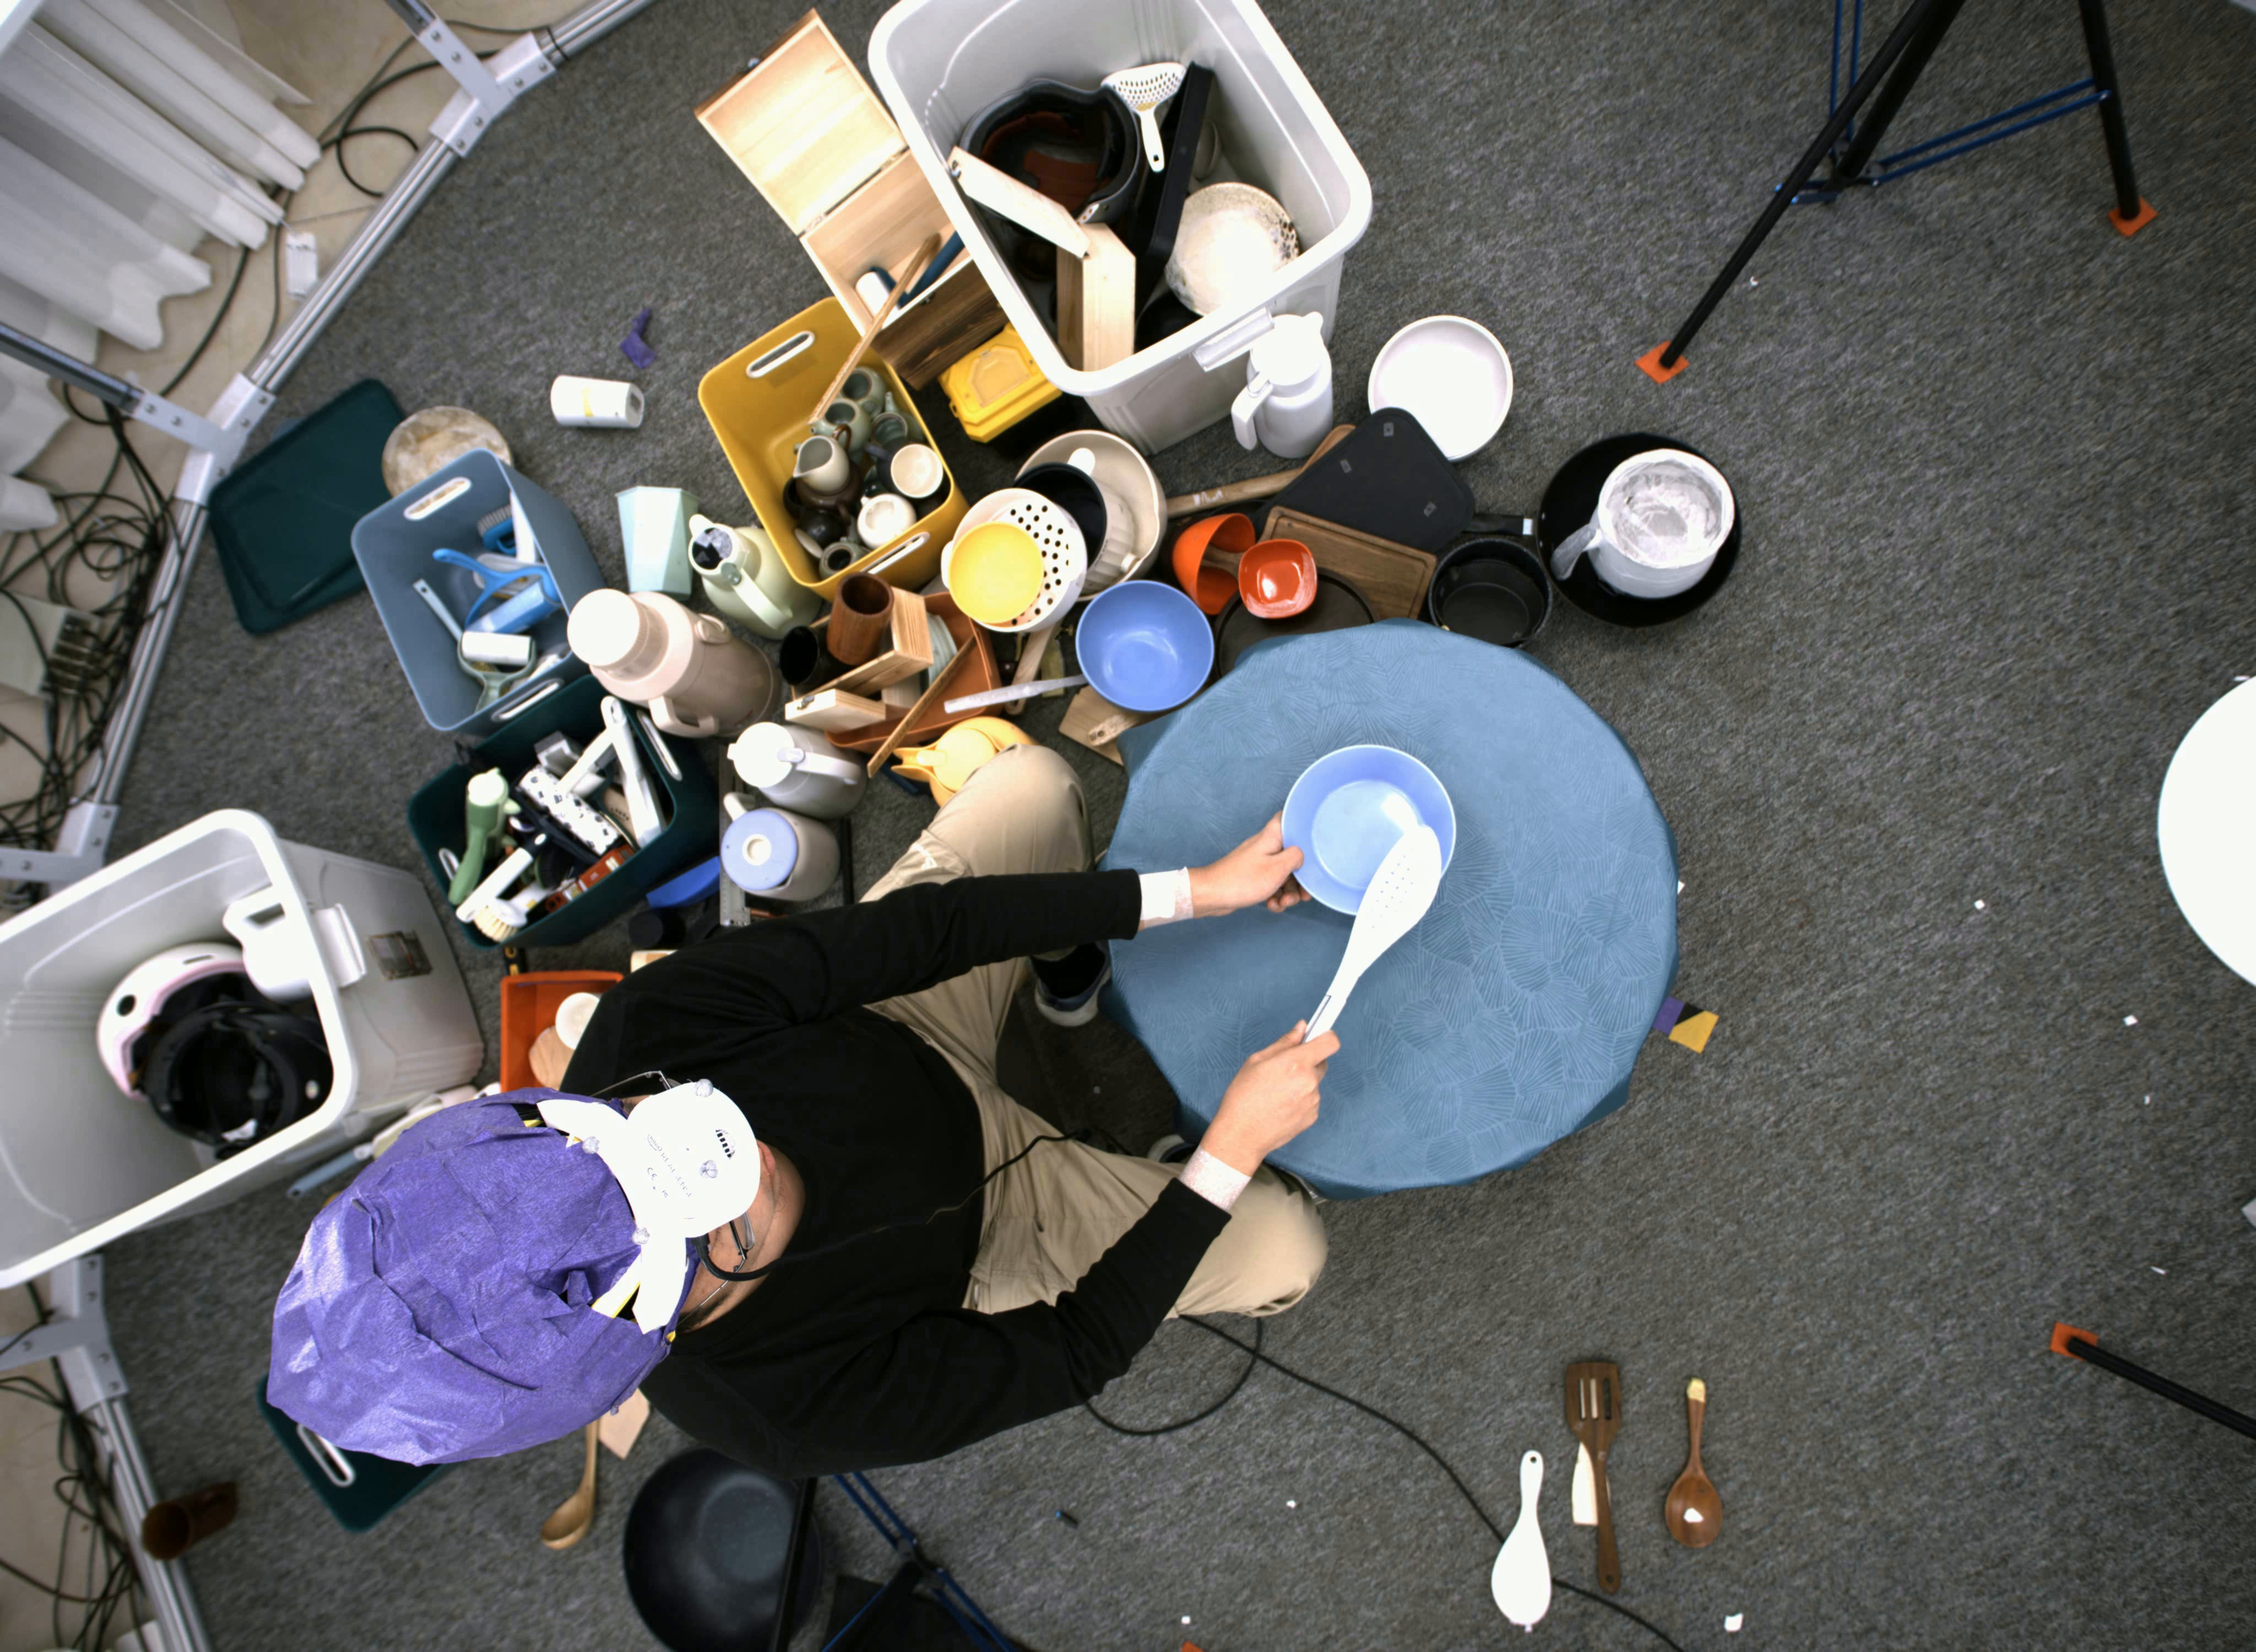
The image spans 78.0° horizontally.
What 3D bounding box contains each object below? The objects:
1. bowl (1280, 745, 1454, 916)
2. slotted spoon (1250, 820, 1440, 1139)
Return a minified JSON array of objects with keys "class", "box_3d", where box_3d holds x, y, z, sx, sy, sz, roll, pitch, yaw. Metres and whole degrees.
[{"class":"bowl","box_3d":[0.247,0.006,1.432,0.177,0.070,0.175,-1,87,12]},{"class":"slotted spoon","box_3d":[0.211,0.151,1.349,0.046,0.135,0.351,33,94,-5]}]
